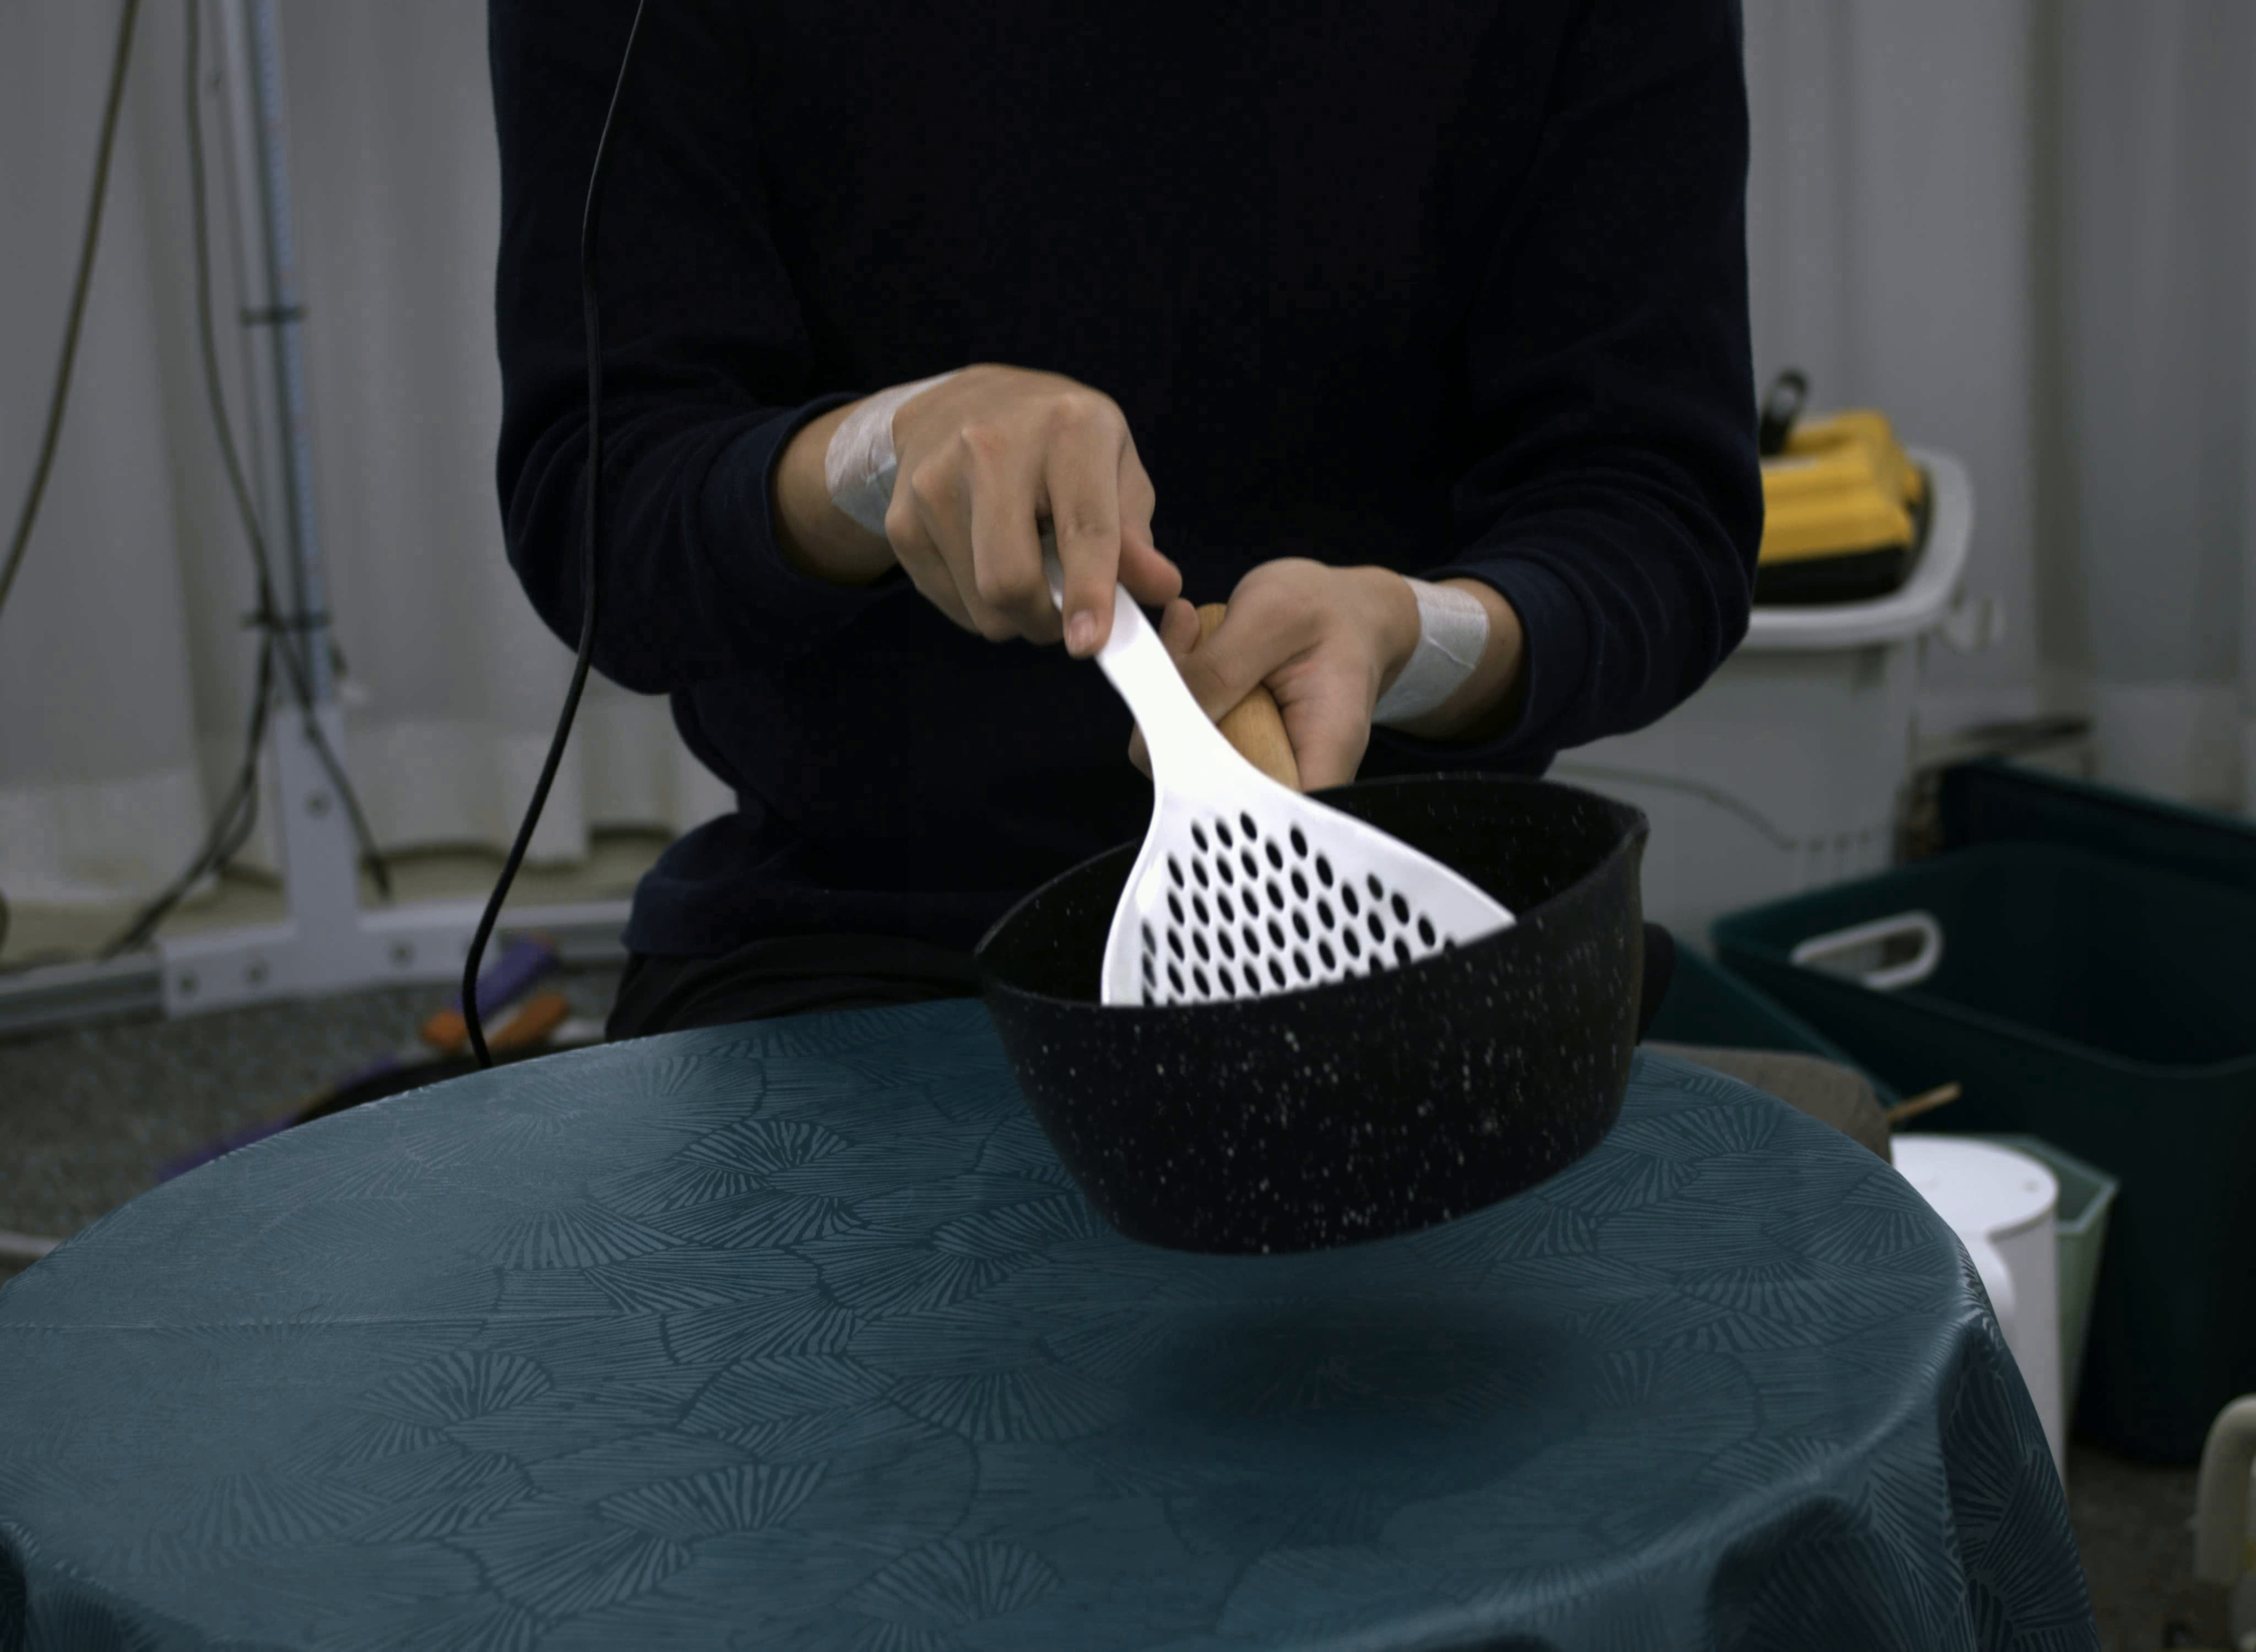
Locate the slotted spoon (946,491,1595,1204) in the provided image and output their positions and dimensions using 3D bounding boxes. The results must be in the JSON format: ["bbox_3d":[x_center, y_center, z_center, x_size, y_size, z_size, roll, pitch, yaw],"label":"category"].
[{"bbox_3d":[0.021,-0.006,1.606,0.136,0.049,0.353,-17,48,-15],"label":"slotted spoon"}]

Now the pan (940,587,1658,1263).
[{"bbox_3d":[0.047,0.022,1.615,0.207,0.107,0.345,-15,17,-1],"label":"pan"}]
